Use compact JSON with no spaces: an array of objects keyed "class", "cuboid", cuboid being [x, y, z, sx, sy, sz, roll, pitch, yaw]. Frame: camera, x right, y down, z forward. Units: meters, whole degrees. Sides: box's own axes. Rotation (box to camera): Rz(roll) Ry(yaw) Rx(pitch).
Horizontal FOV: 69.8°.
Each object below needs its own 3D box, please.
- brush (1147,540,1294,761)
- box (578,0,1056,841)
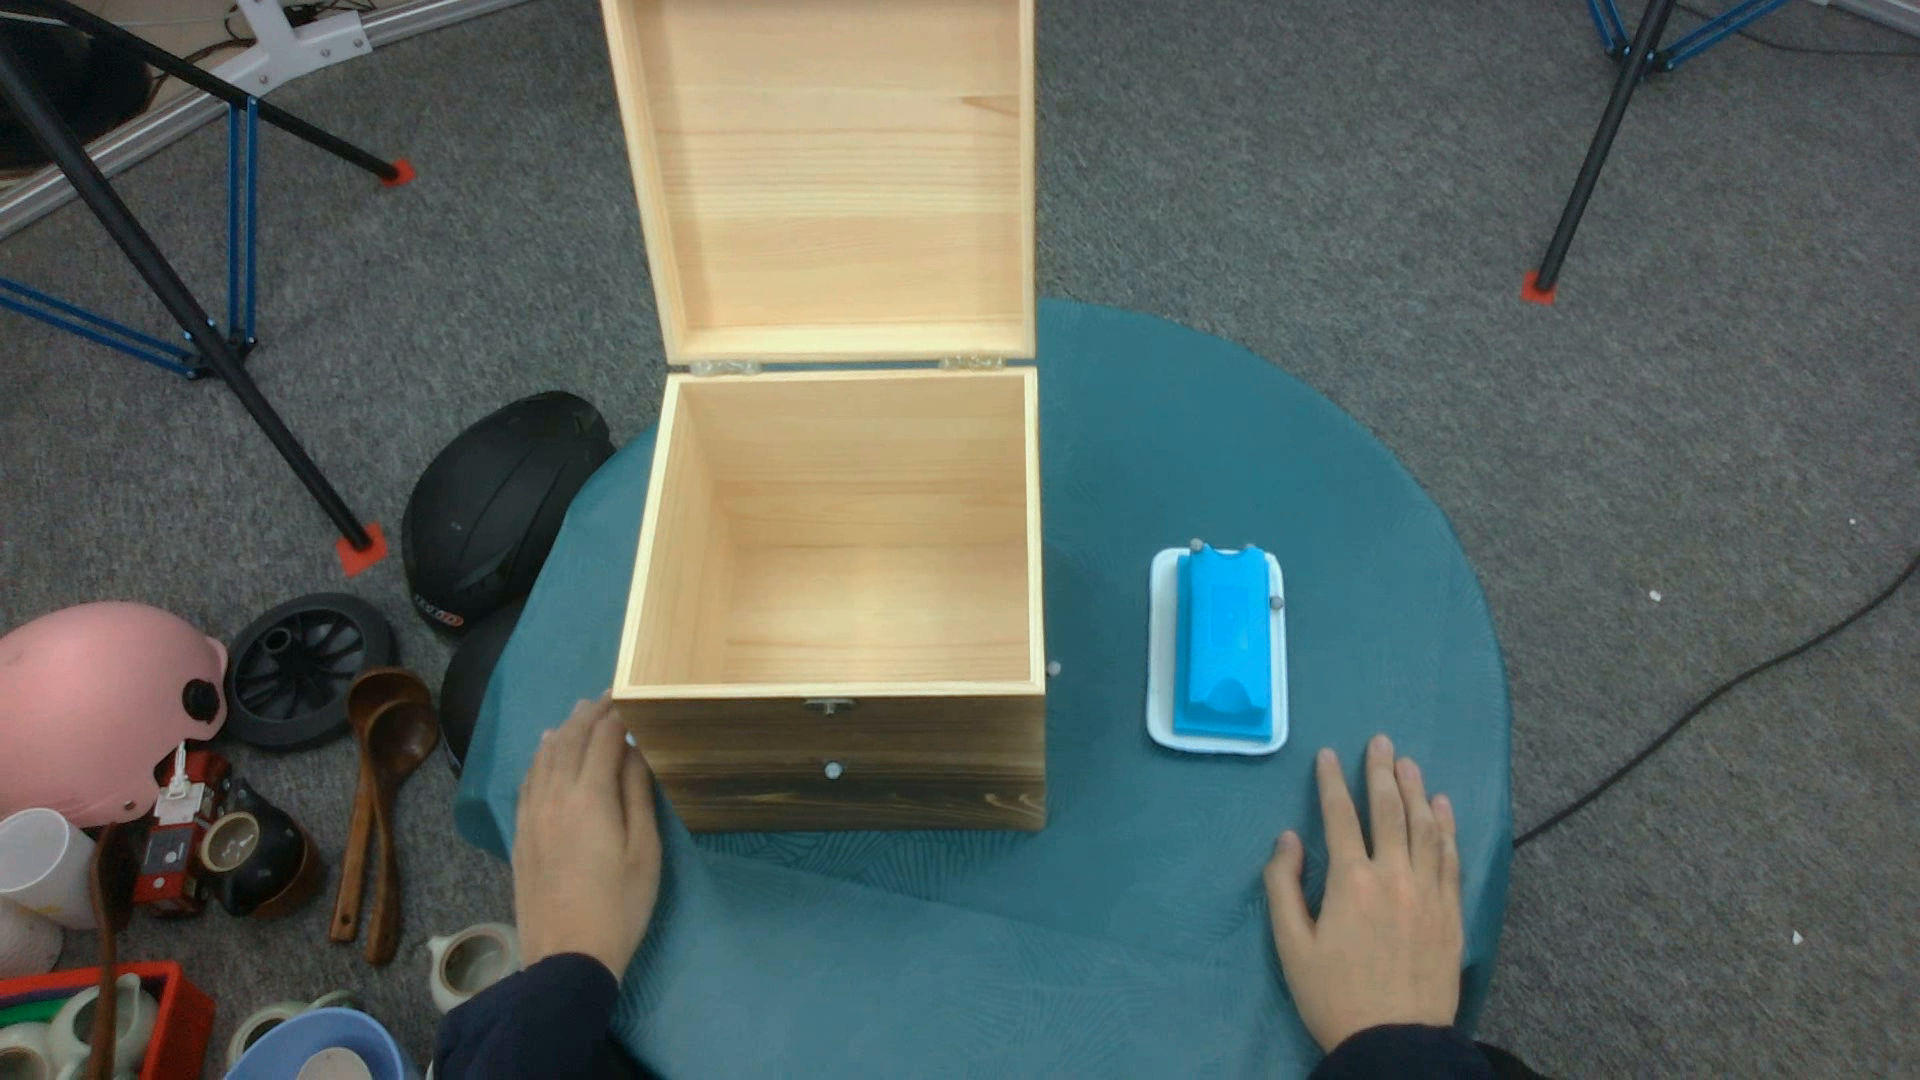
[{"class":"brush","cuboid":[0.154,0.057,0.807,0.084,0.055,0.144,2,54,10]},{"class":"box","cuboid":[-0.064,-0.056,0.719,0.208,0.374,0.323,-3,56,3]}]
